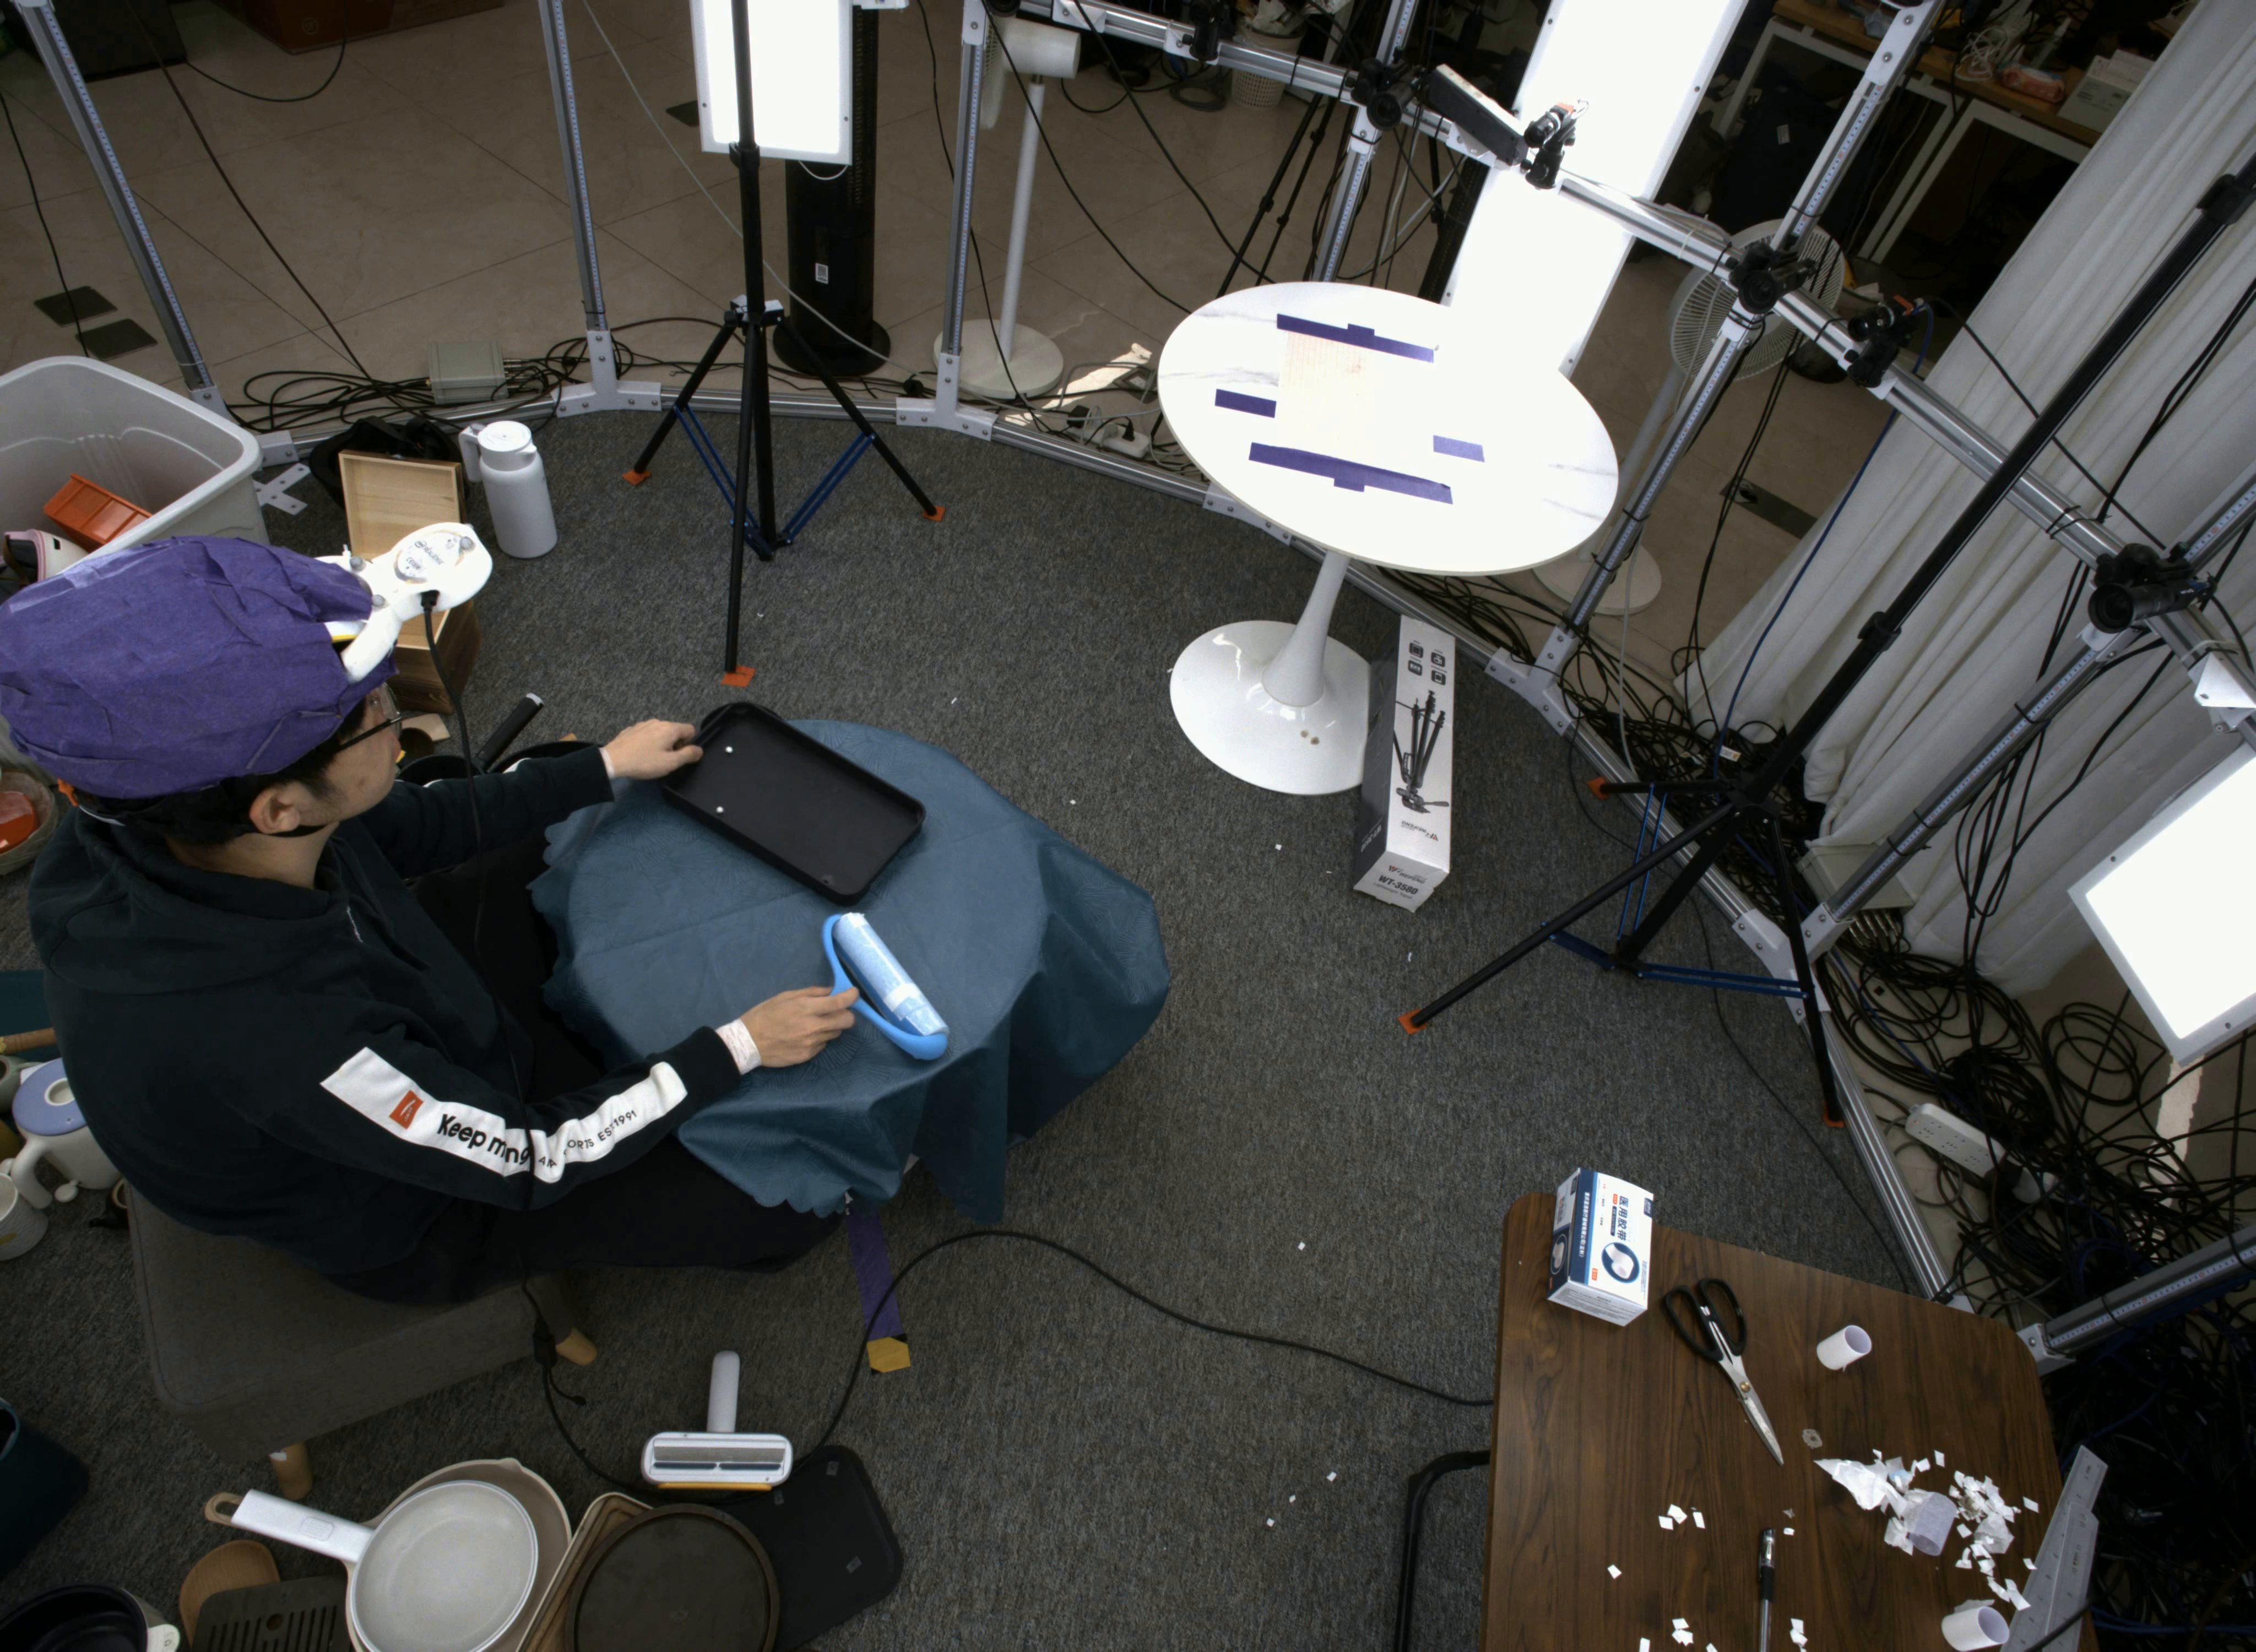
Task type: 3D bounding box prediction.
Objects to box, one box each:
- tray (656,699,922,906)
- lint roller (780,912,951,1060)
[{"bbox_3d":[-0.449,-0.035,1.721,0.314,0.037,0.183,30,53,4],"label":"tray"},{"bbox_3d":[-0.337,0.215,1.557,0.181,0.069,0.224,-32,69,-33],"label":"lint roller"}]
